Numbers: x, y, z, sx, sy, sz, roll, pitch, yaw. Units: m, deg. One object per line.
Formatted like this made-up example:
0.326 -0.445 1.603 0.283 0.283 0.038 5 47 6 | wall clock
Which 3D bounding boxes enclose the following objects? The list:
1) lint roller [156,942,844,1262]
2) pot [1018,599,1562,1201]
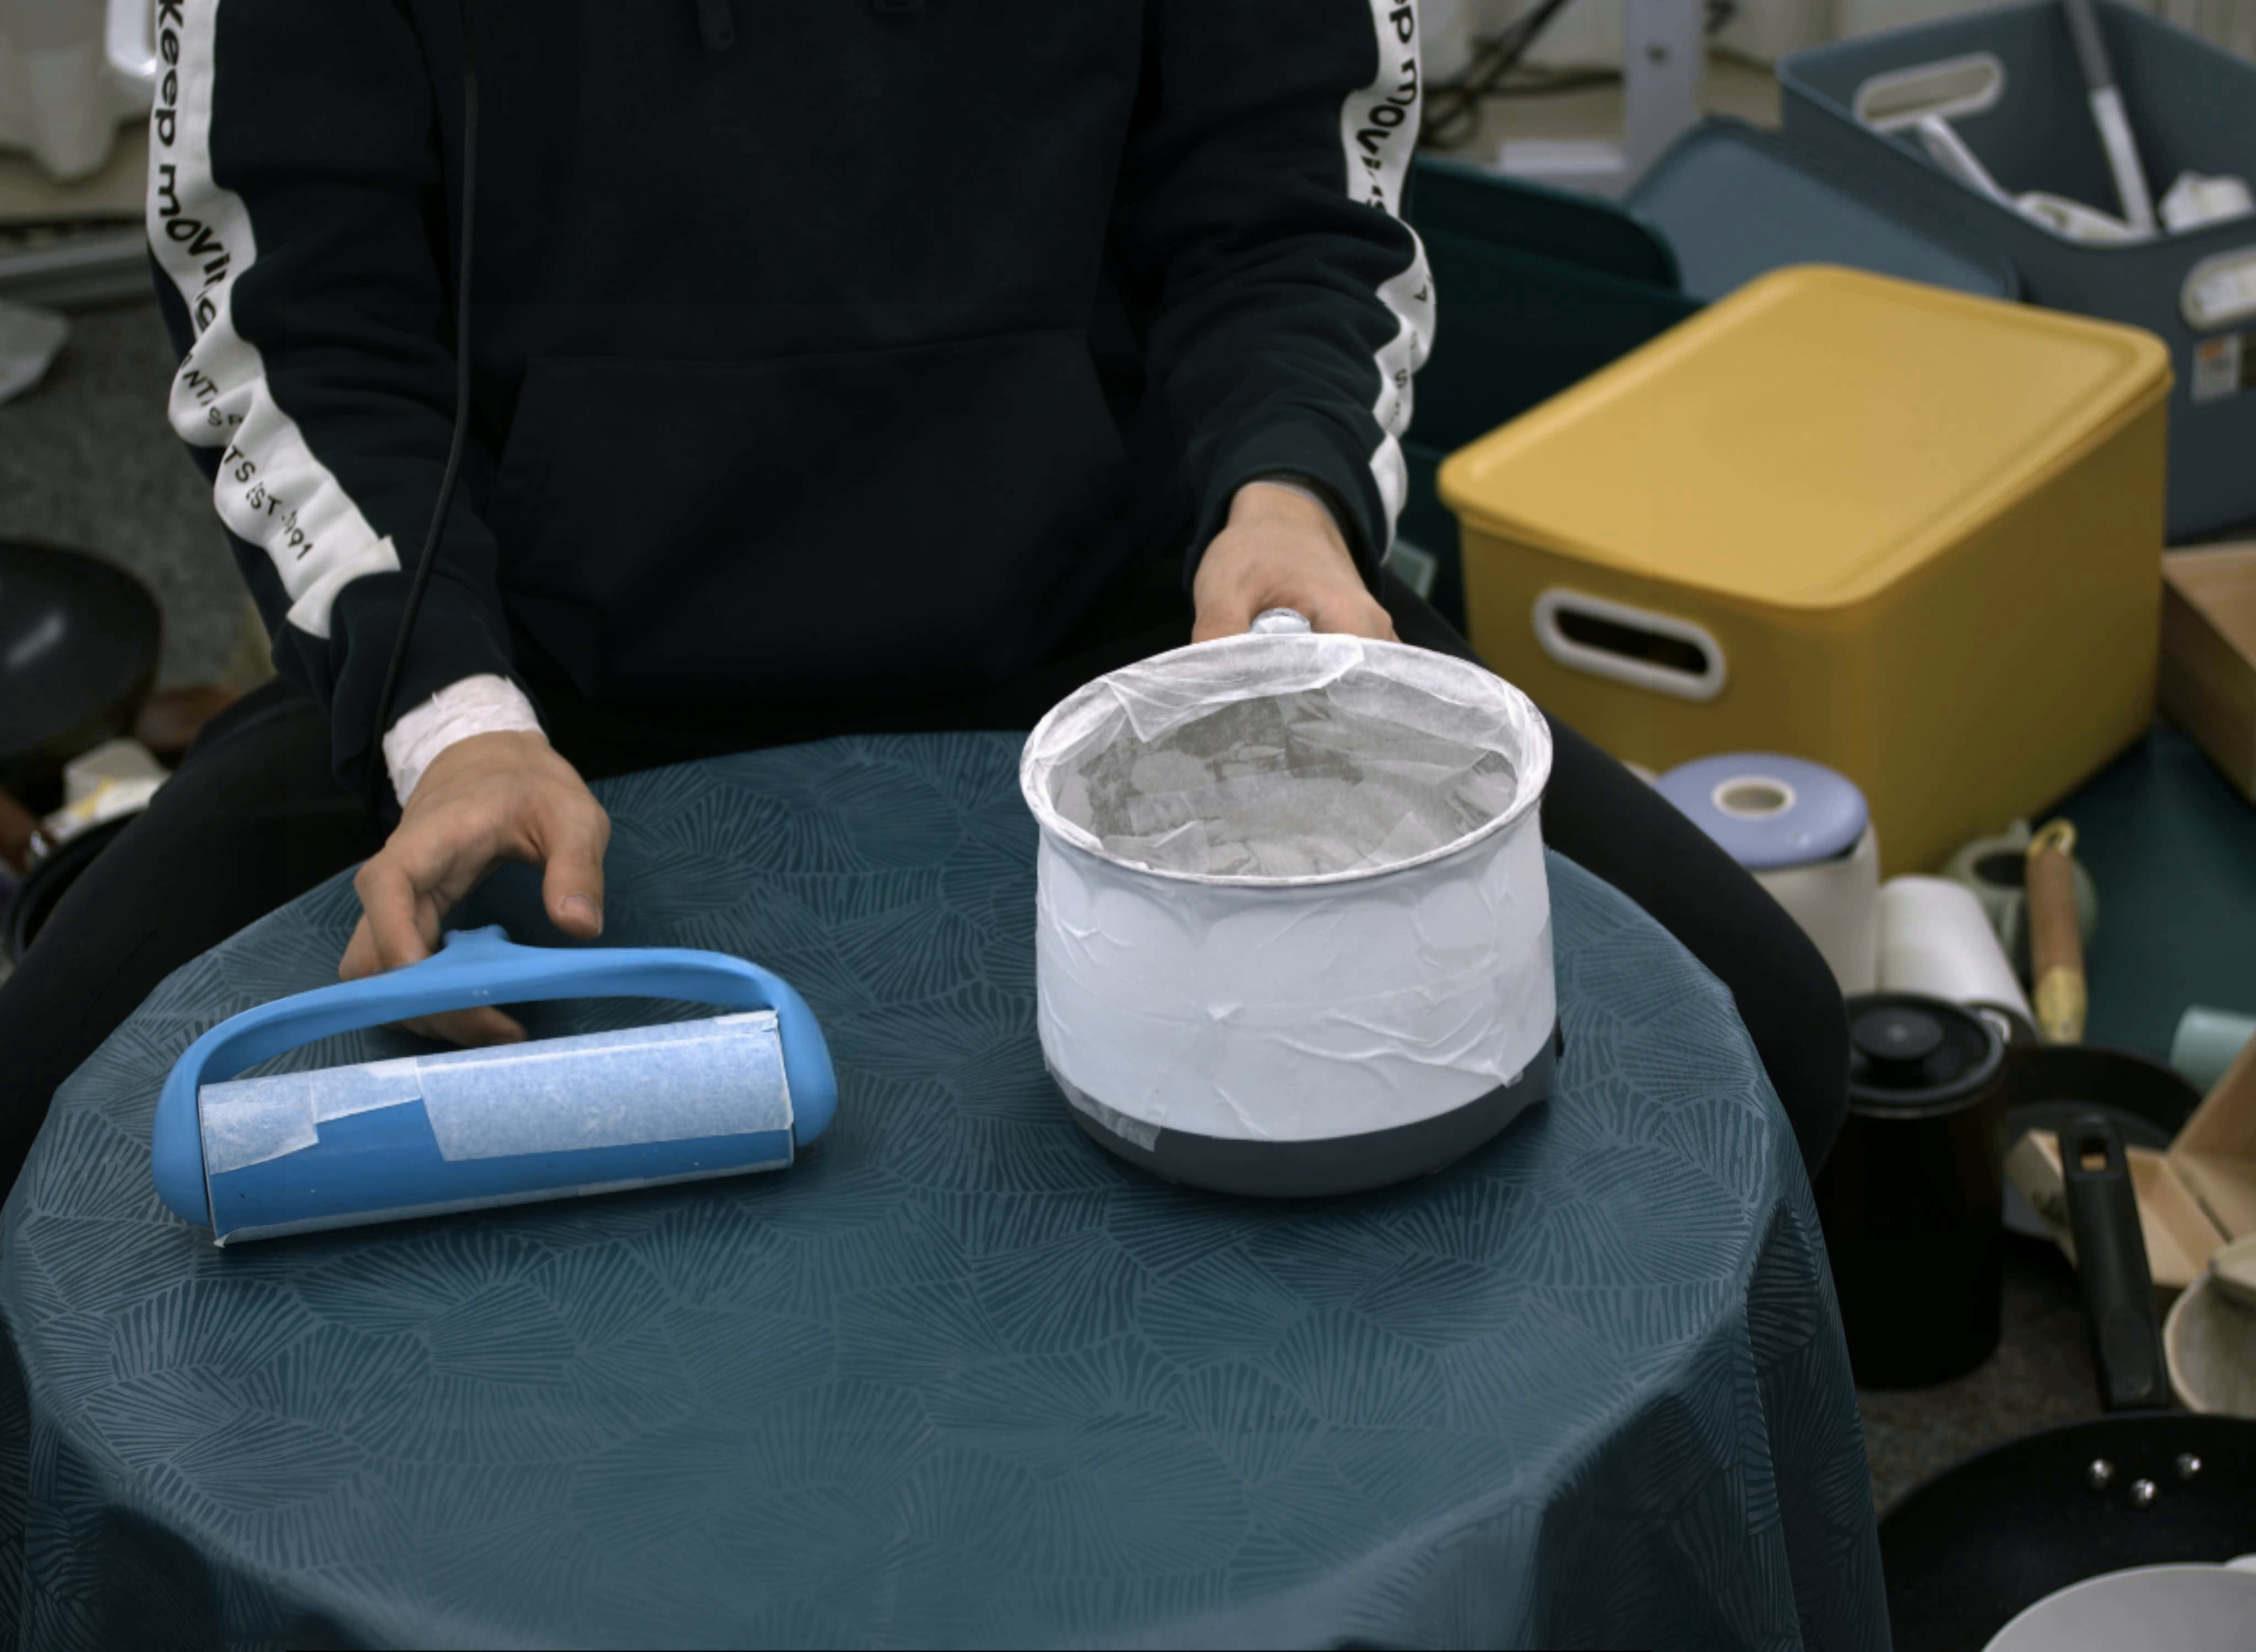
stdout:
-0.221 0.075 1.912 0.229 0.067 0.182 -11 29 -11 | lint roller
0.055 0.017 1.904 0.178 0.135 0.237 -3 29 0 | pot
